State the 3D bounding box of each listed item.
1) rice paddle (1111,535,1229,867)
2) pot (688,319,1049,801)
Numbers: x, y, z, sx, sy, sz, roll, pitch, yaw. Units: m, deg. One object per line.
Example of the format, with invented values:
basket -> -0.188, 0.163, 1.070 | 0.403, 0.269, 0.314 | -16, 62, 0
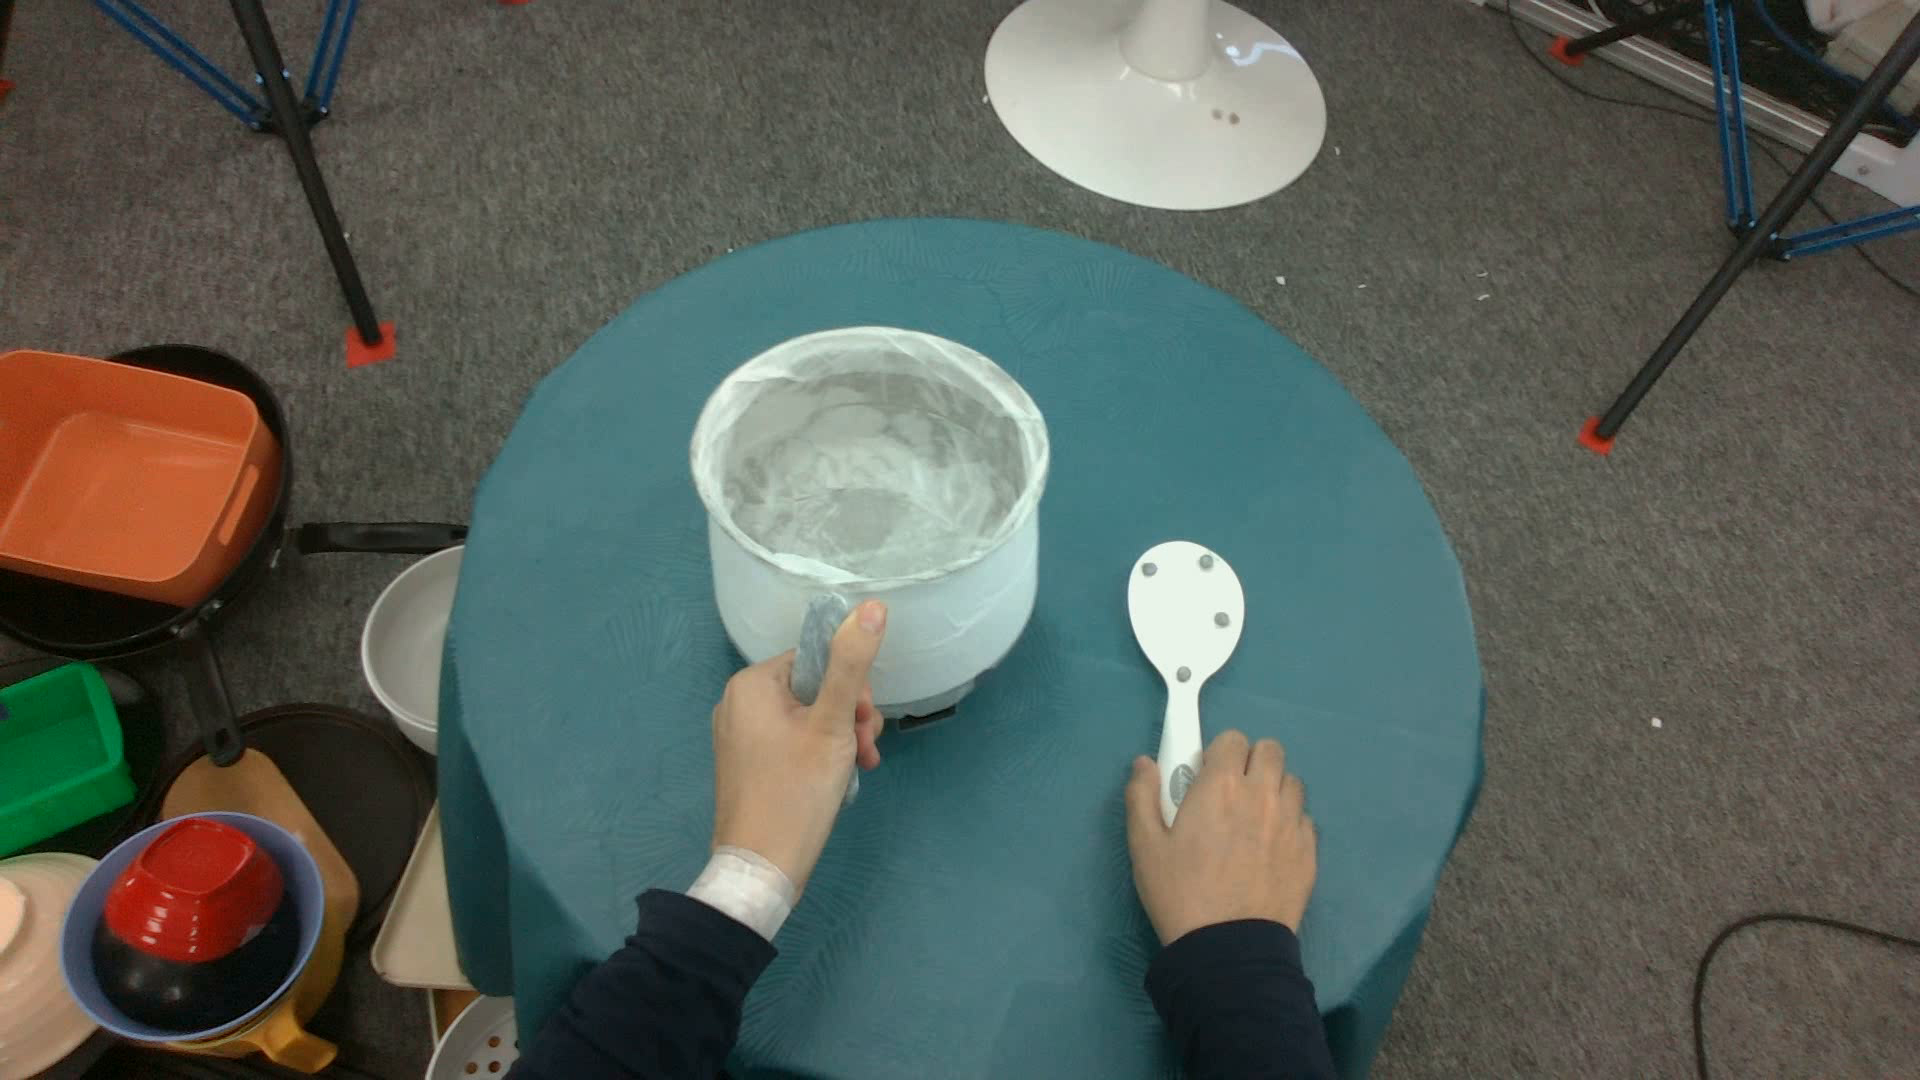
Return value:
rice paddle -> 0.117, 0.080, 0.772 | 0.069, 0.029, 0.206 | 4, 56, 3
pot -> -0.050, 0.011, 0.707 | 0.178, 0.136, 0.235 | 8, 49, 6
